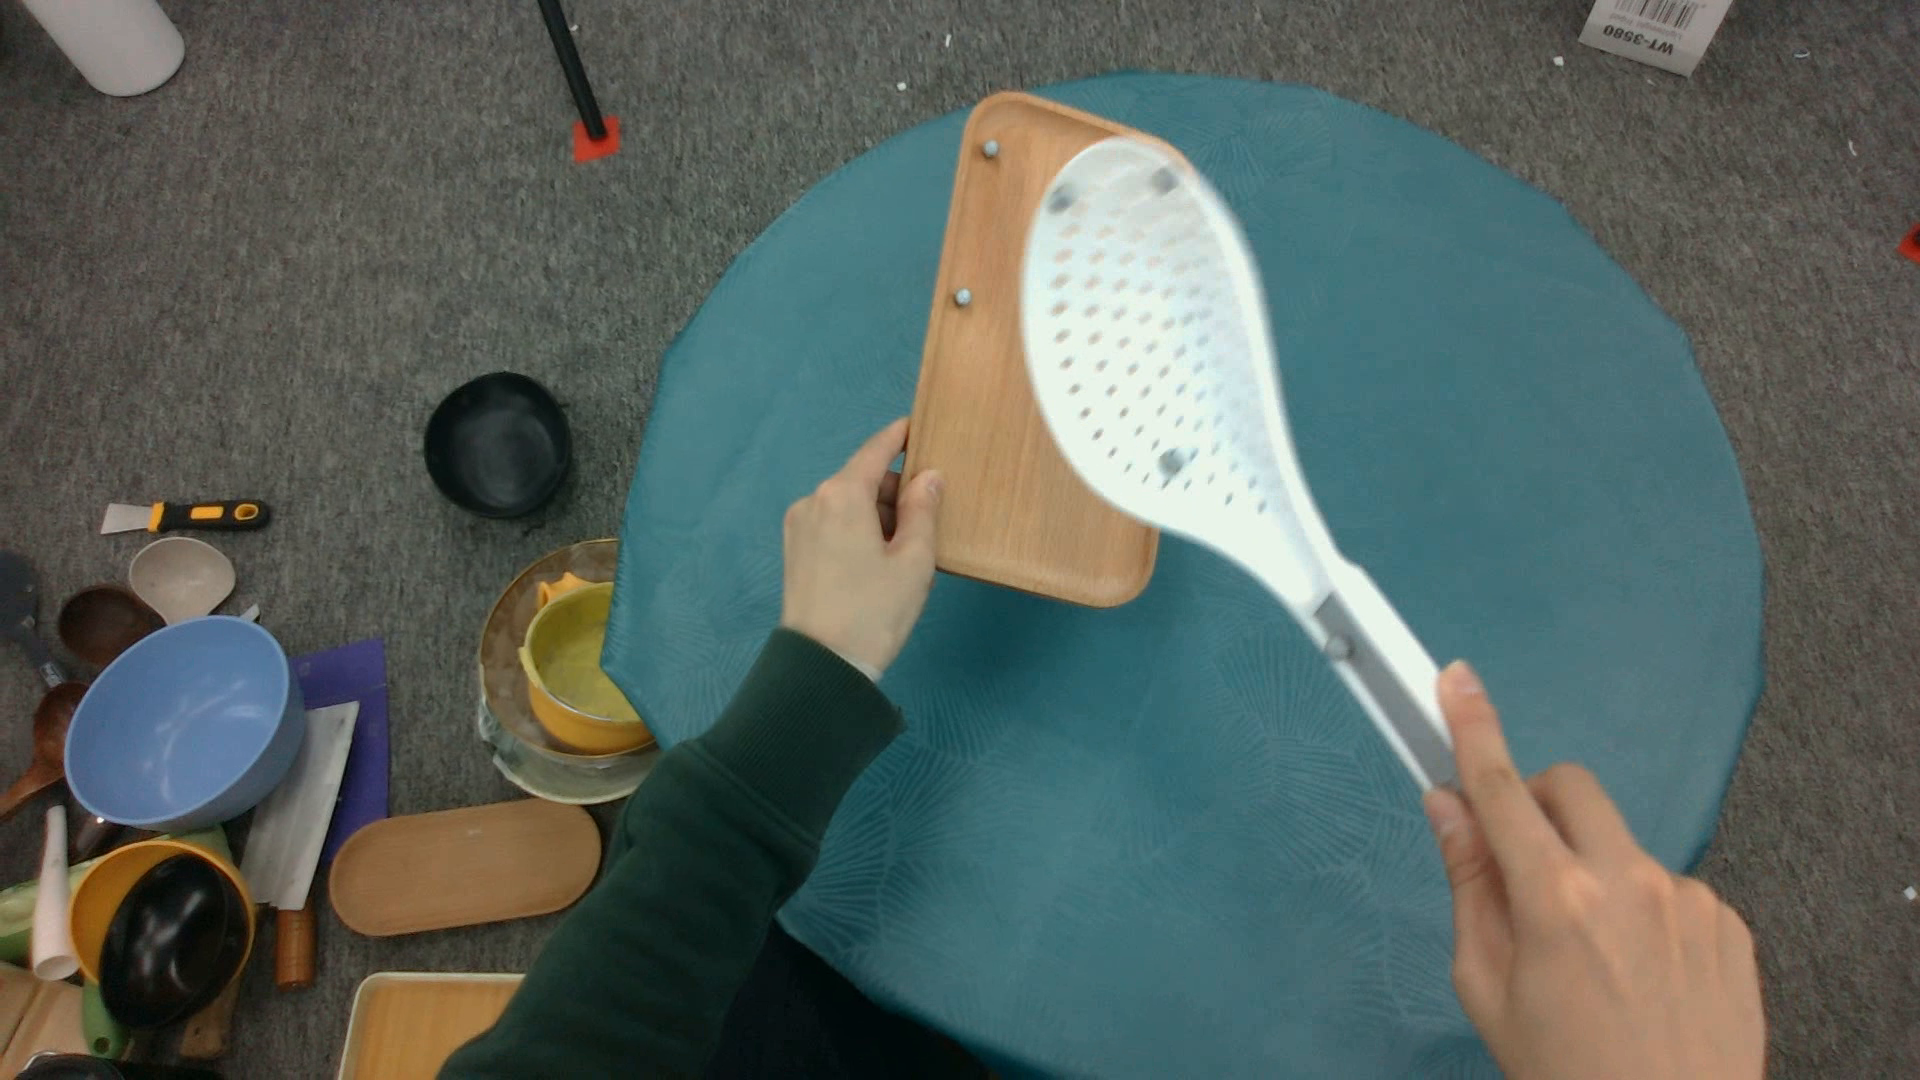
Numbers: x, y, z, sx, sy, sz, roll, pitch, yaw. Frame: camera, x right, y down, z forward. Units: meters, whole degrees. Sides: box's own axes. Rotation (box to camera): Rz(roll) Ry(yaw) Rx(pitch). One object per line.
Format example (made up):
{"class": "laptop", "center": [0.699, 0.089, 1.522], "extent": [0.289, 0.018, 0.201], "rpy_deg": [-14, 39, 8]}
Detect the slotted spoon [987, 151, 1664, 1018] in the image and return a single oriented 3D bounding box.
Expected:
{"class": "slotted spoon", "center": [0.109, 0.003, 0.474], "extent": [0.046, 0.135, 0.350], "rpy_deg": [-16, 60, -24]}

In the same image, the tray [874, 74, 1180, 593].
{"class": "tray", "center": [0.036, -0.102, 0.660], "extent": [0.130, 0.023, 0.251], "rpy_deg": [14, 73, -13]}
